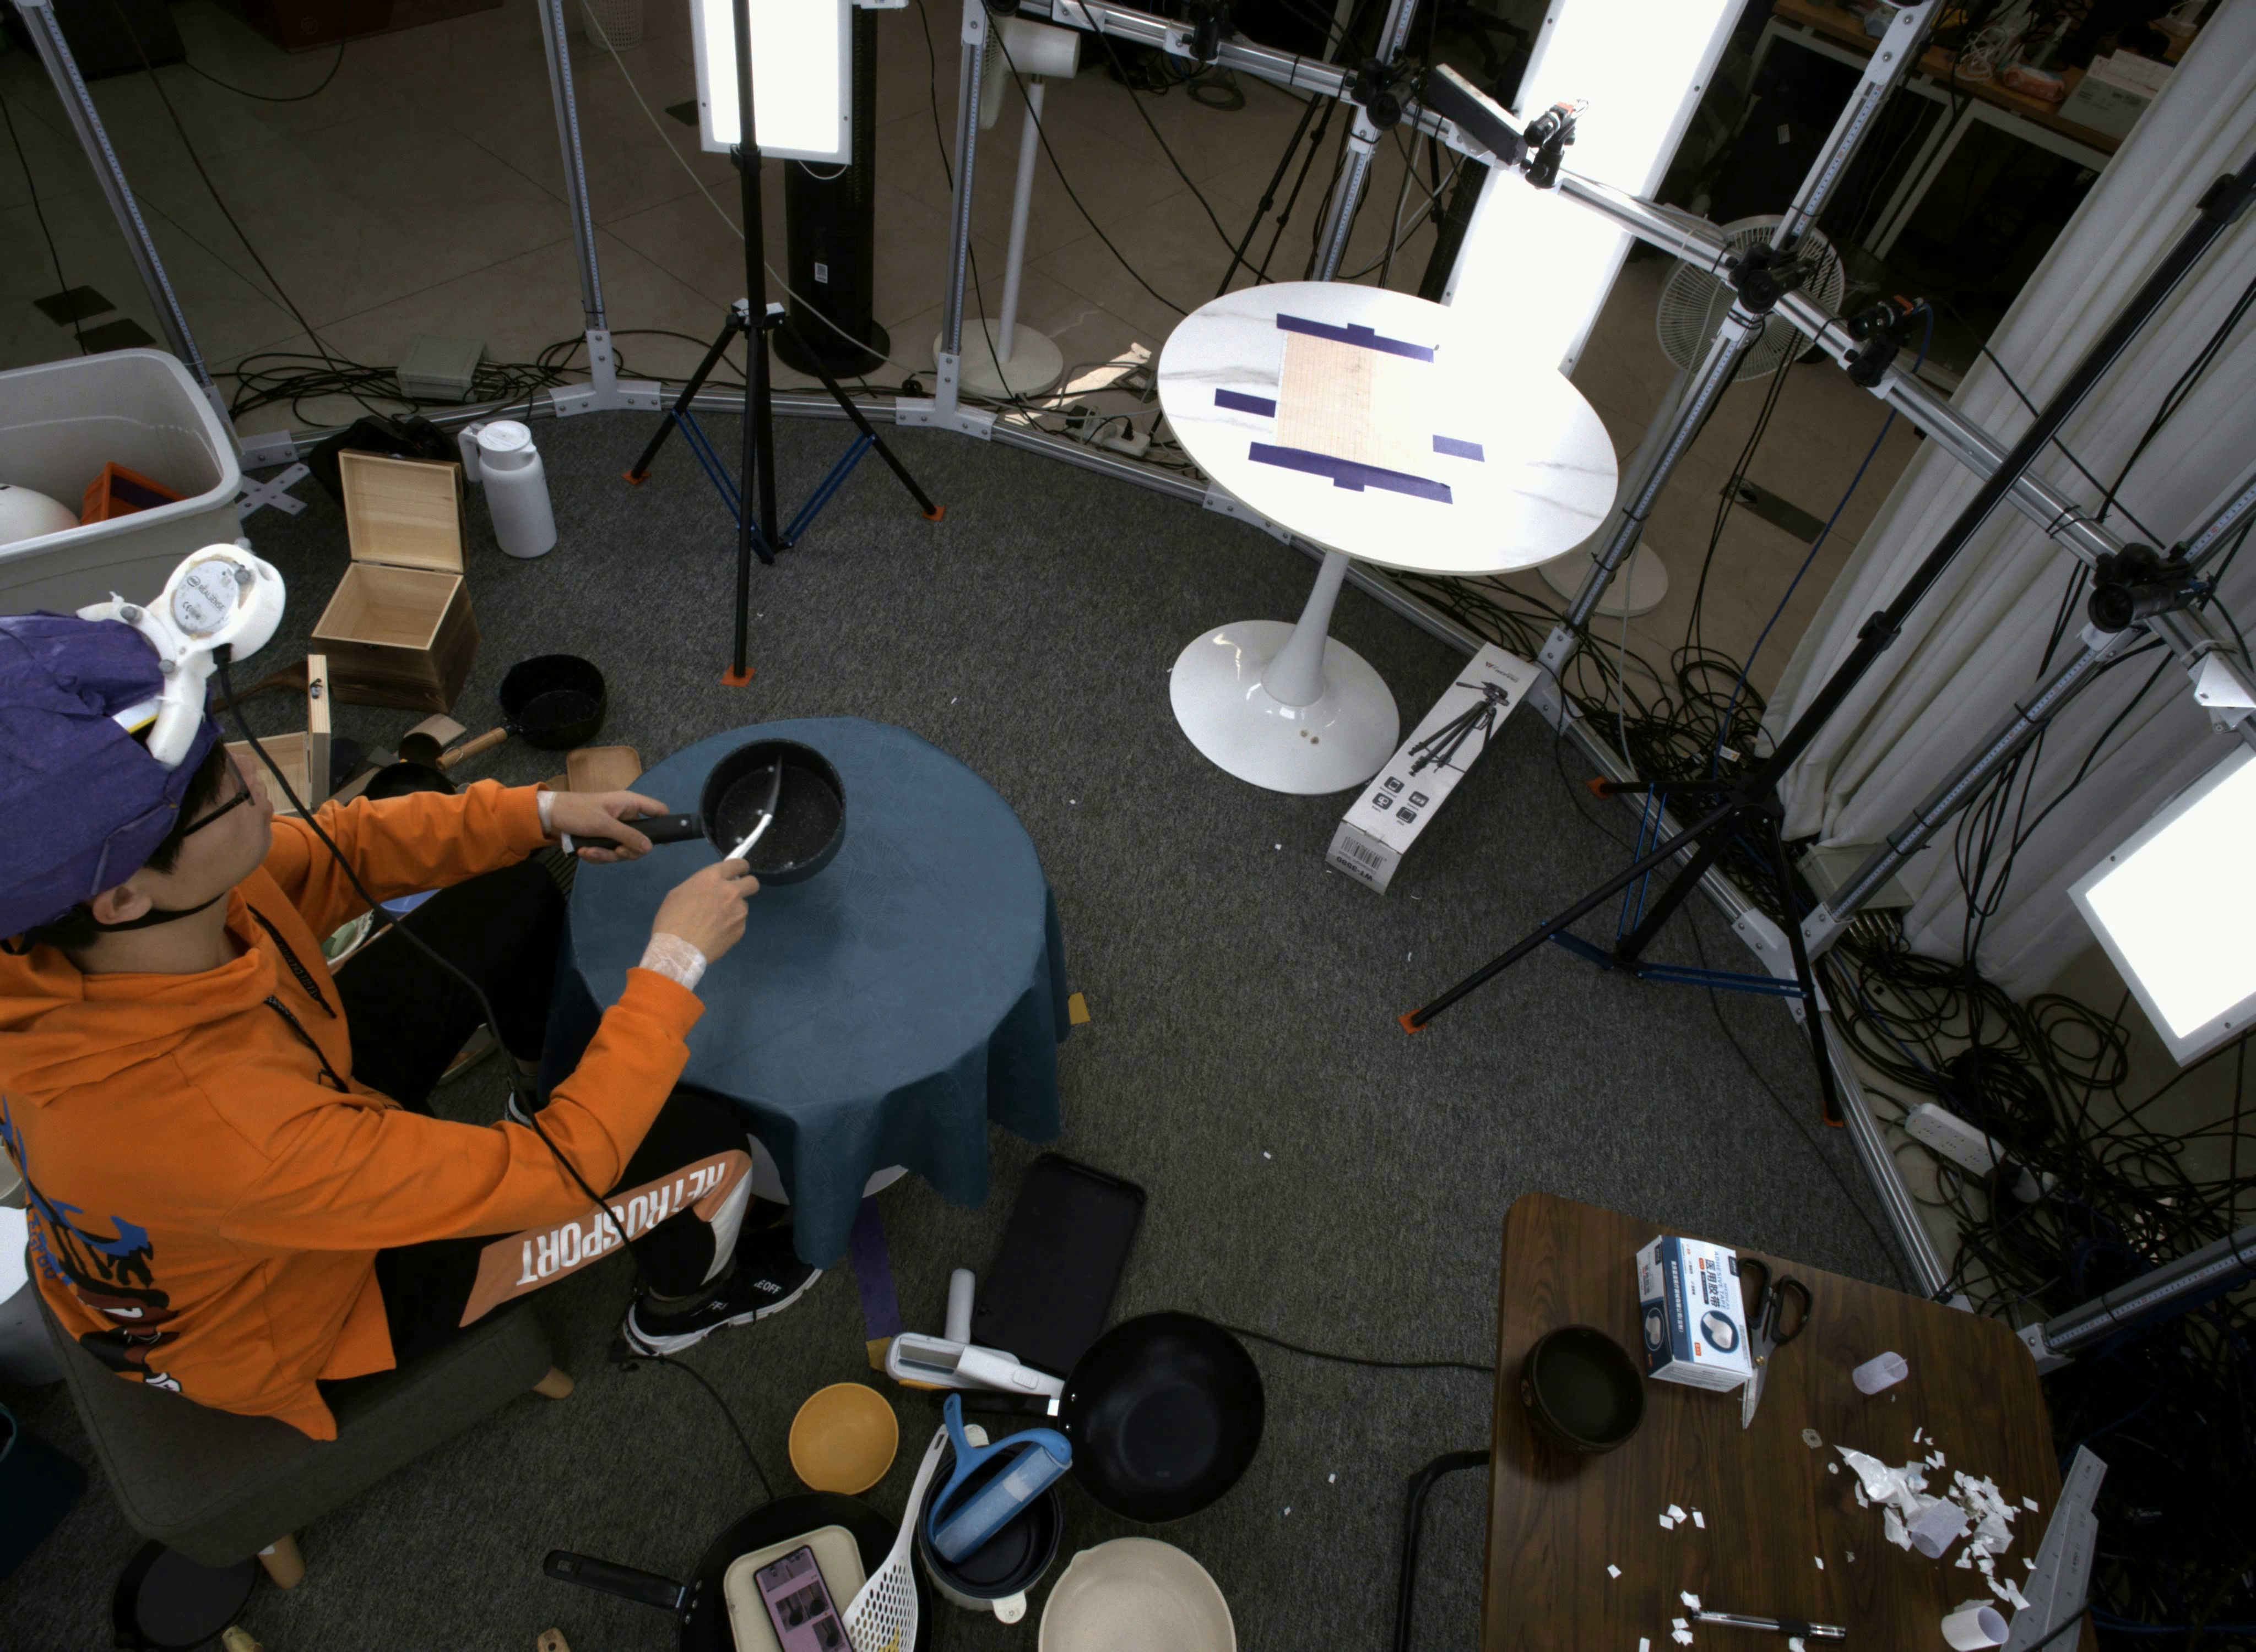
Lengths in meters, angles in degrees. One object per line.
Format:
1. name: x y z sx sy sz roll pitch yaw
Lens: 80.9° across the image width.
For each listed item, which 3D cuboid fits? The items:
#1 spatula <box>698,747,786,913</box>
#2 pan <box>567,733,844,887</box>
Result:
1. spatula: -0.433 0.000 1.478 0.033 0.059 0.282 29 30 -16
2. pan: -0.501 -0.005 1.531 0.329 0.087 0.171 -8 73 -15
